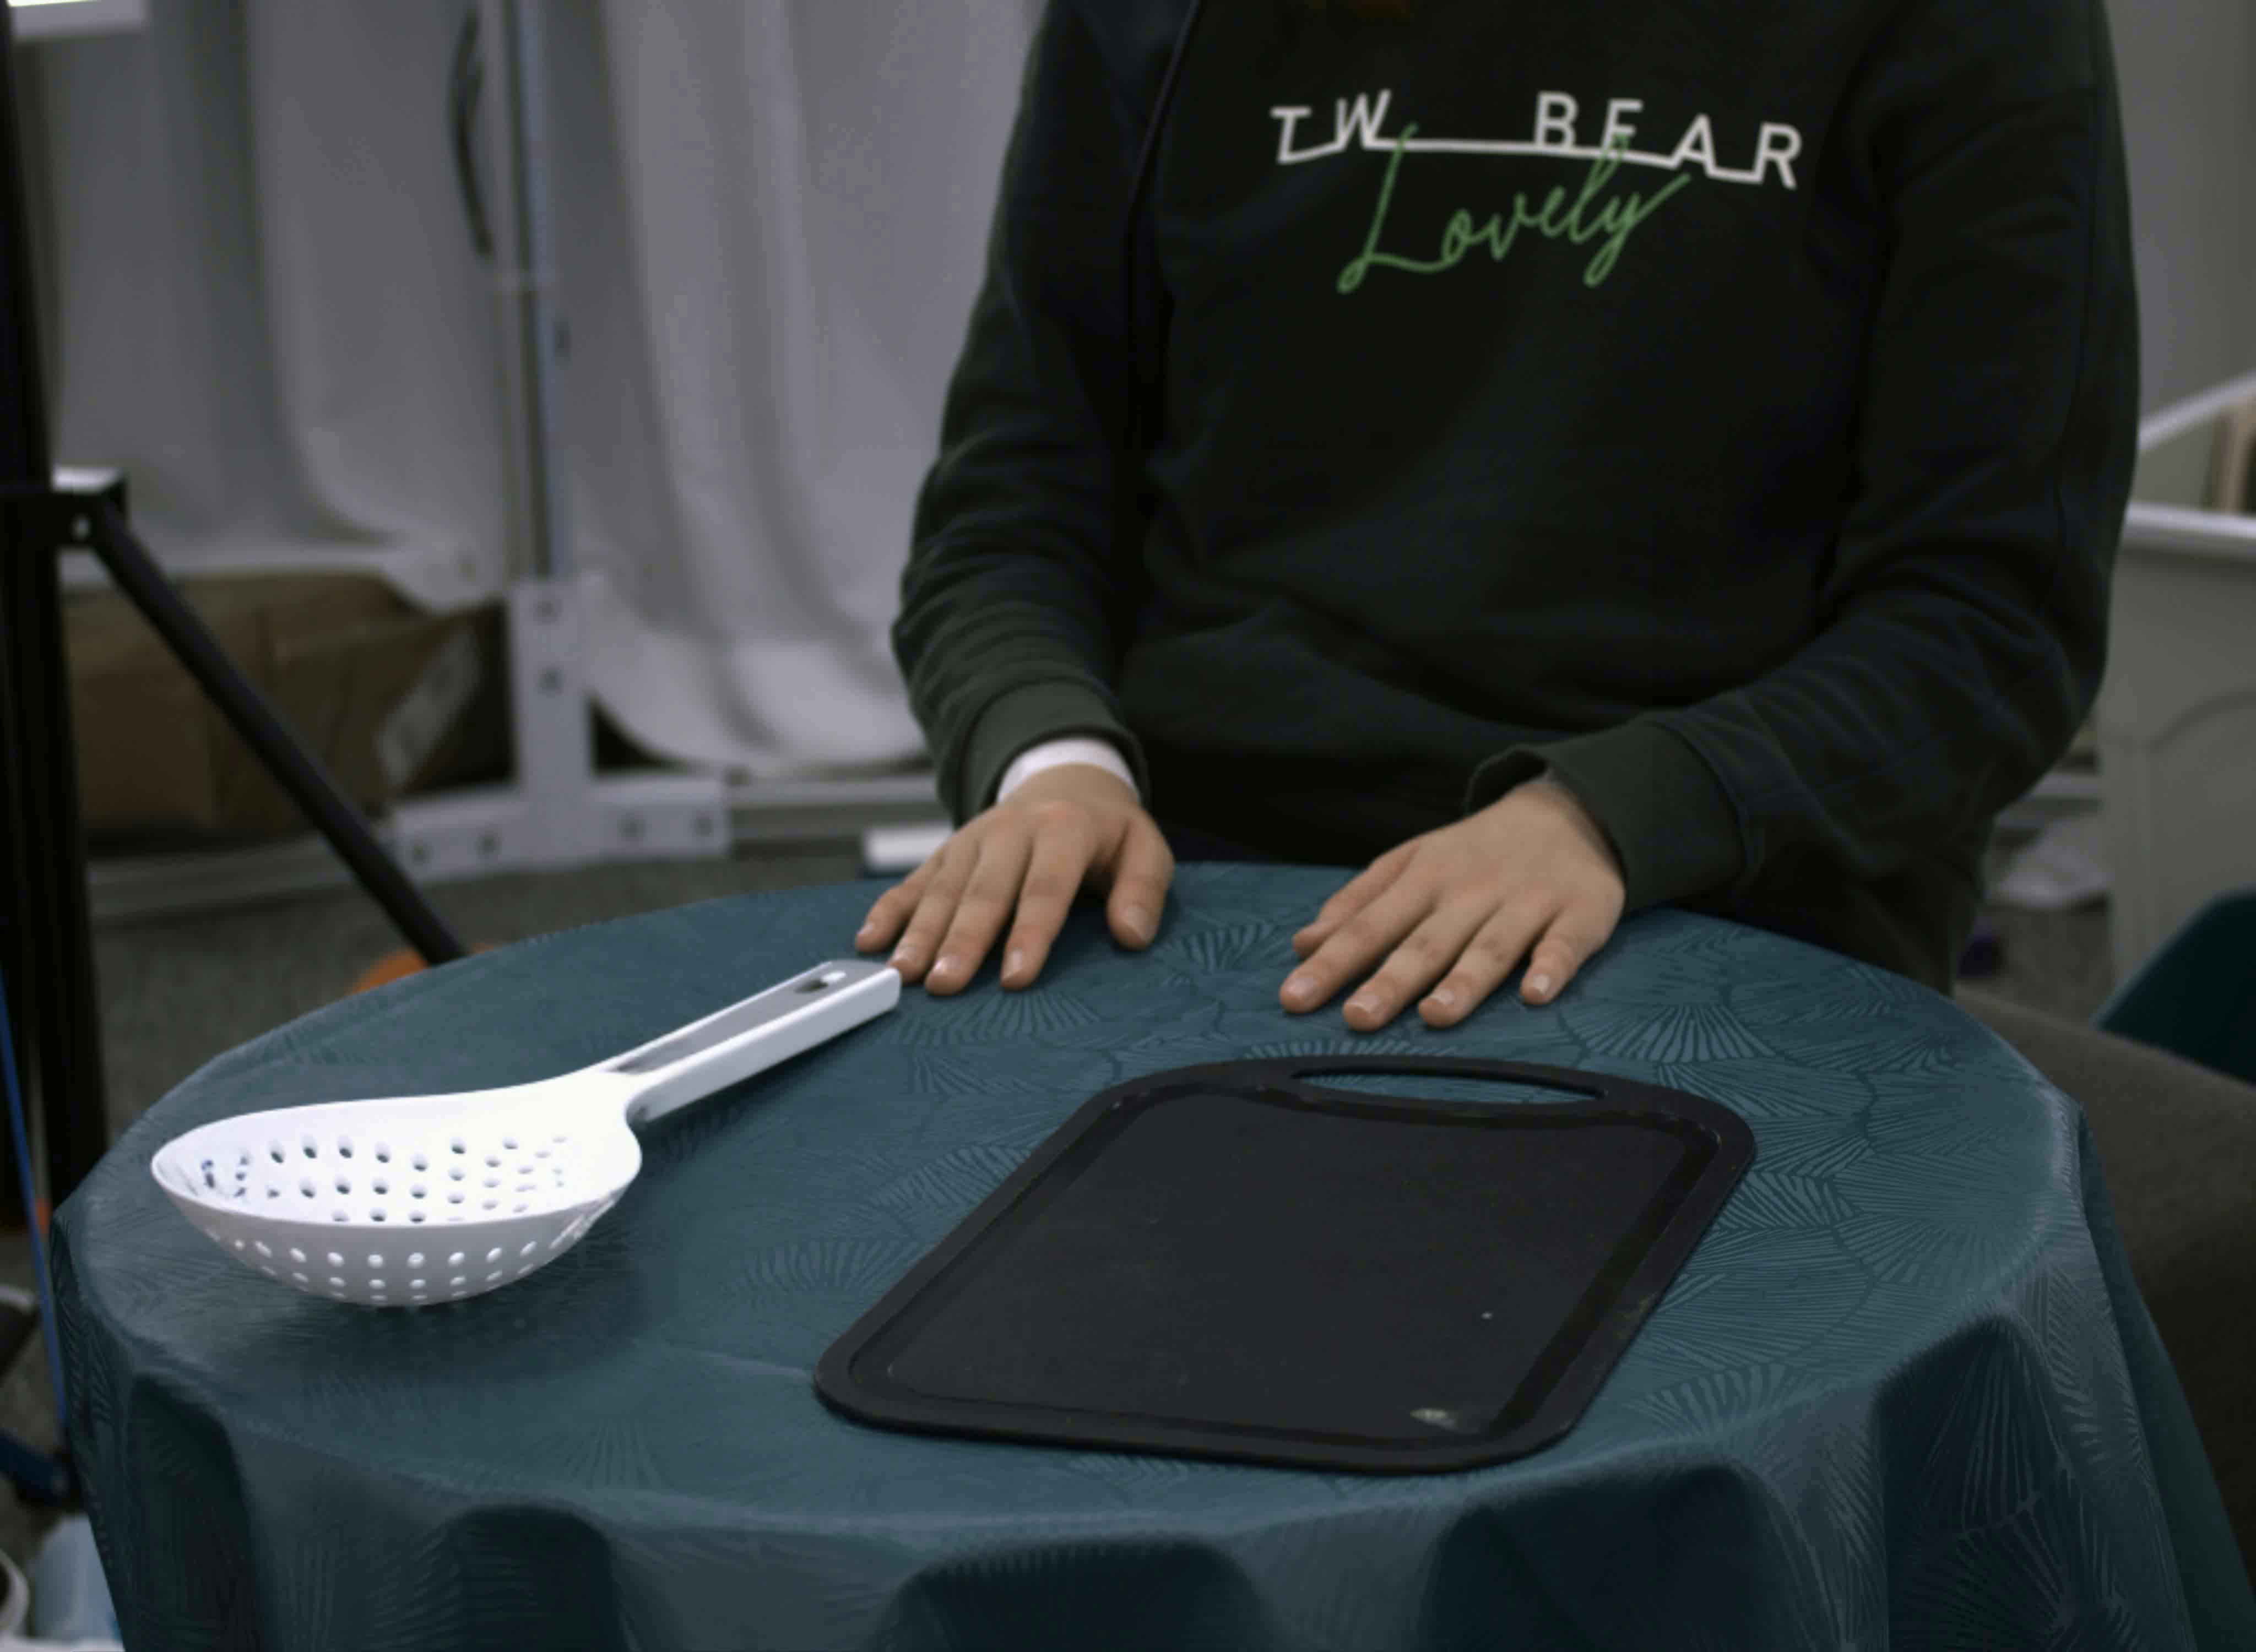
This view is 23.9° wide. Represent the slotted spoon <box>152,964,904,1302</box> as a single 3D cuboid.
[{"bbox_3d":[-0.159,0.082,1.593,0.138,0.046,0.344,8,18,25],"label":"slotted spoon"}]

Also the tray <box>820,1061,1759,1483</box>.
[{"bbox_3d":[0.055,0.117,1.504,0.213,0.010,0.321,3,17,19],"label":"tray"}]
